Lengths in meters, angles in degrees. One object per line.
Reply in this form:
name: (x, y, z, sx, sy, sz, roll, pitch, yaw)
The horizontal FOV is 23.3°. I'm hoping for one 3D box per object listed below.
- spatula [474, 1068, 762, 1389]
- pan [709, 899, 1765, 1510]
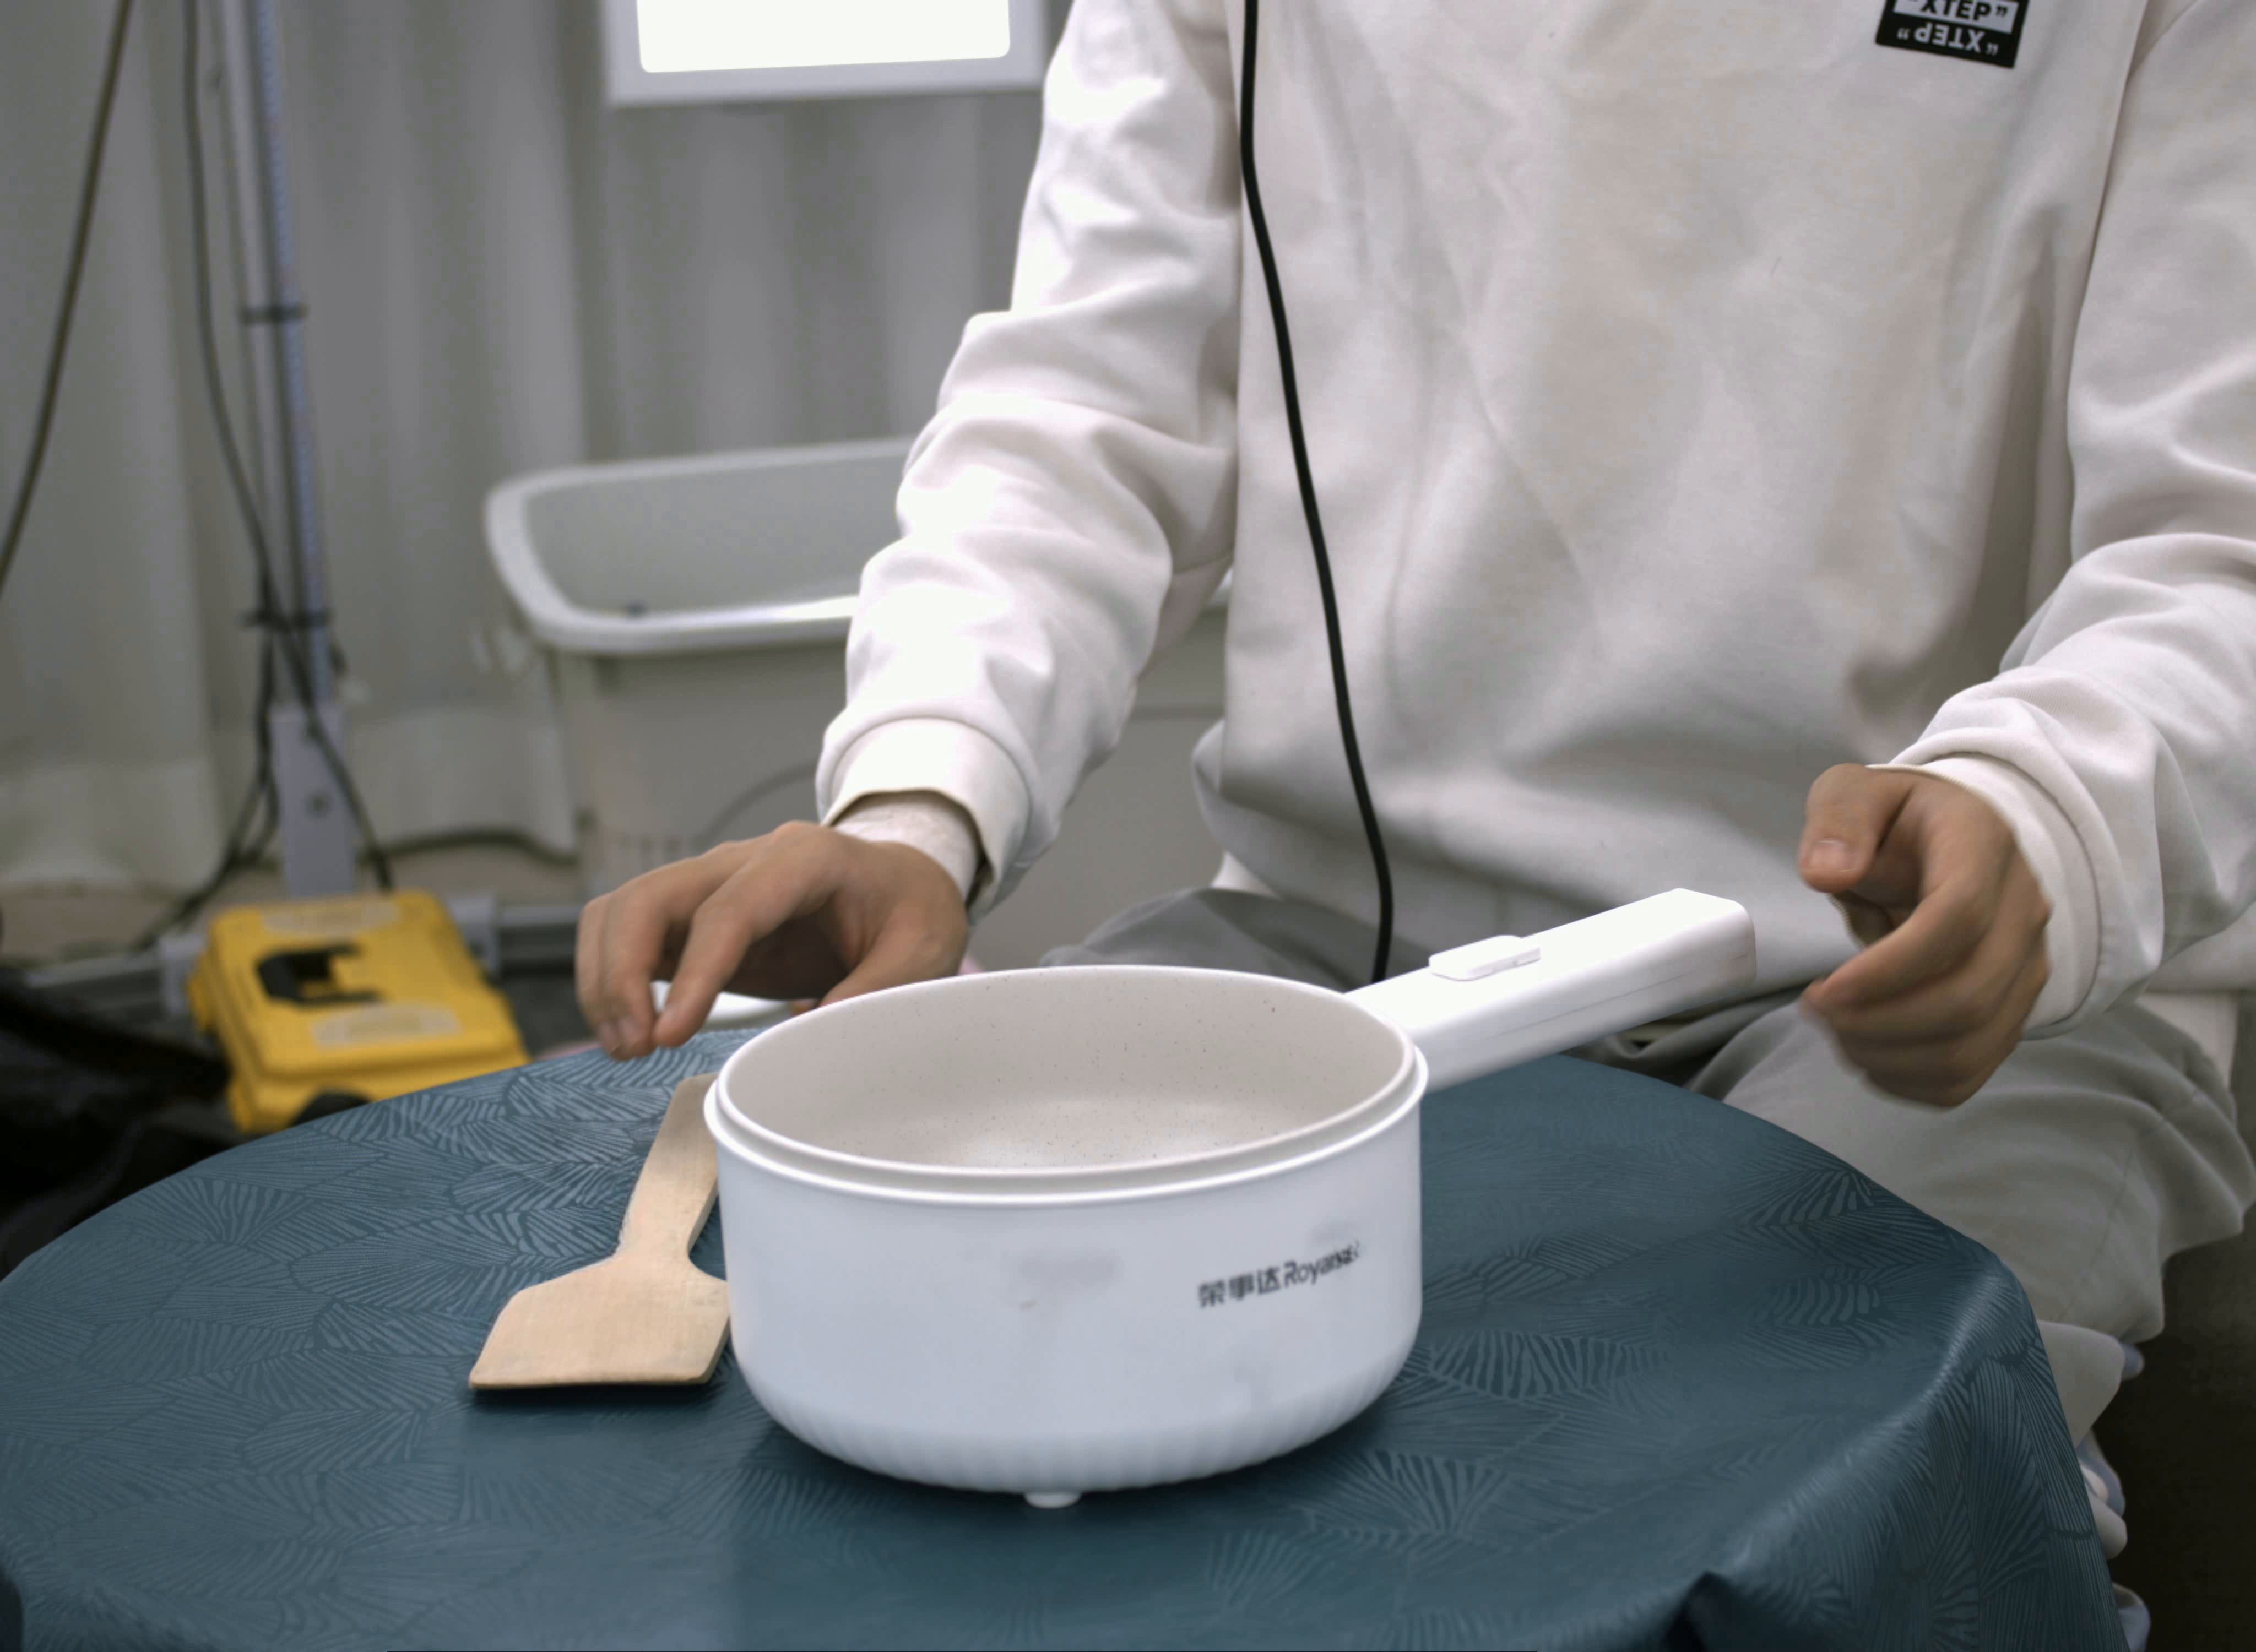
spatula: (-0.144, 0.123, 1.697, 0.072, 0.010, 0.295, -3, 15, 5)
pan: (0.045, 0.102, 1.574, 0.353, 0.102, 0.202, -13, 16, -38)
